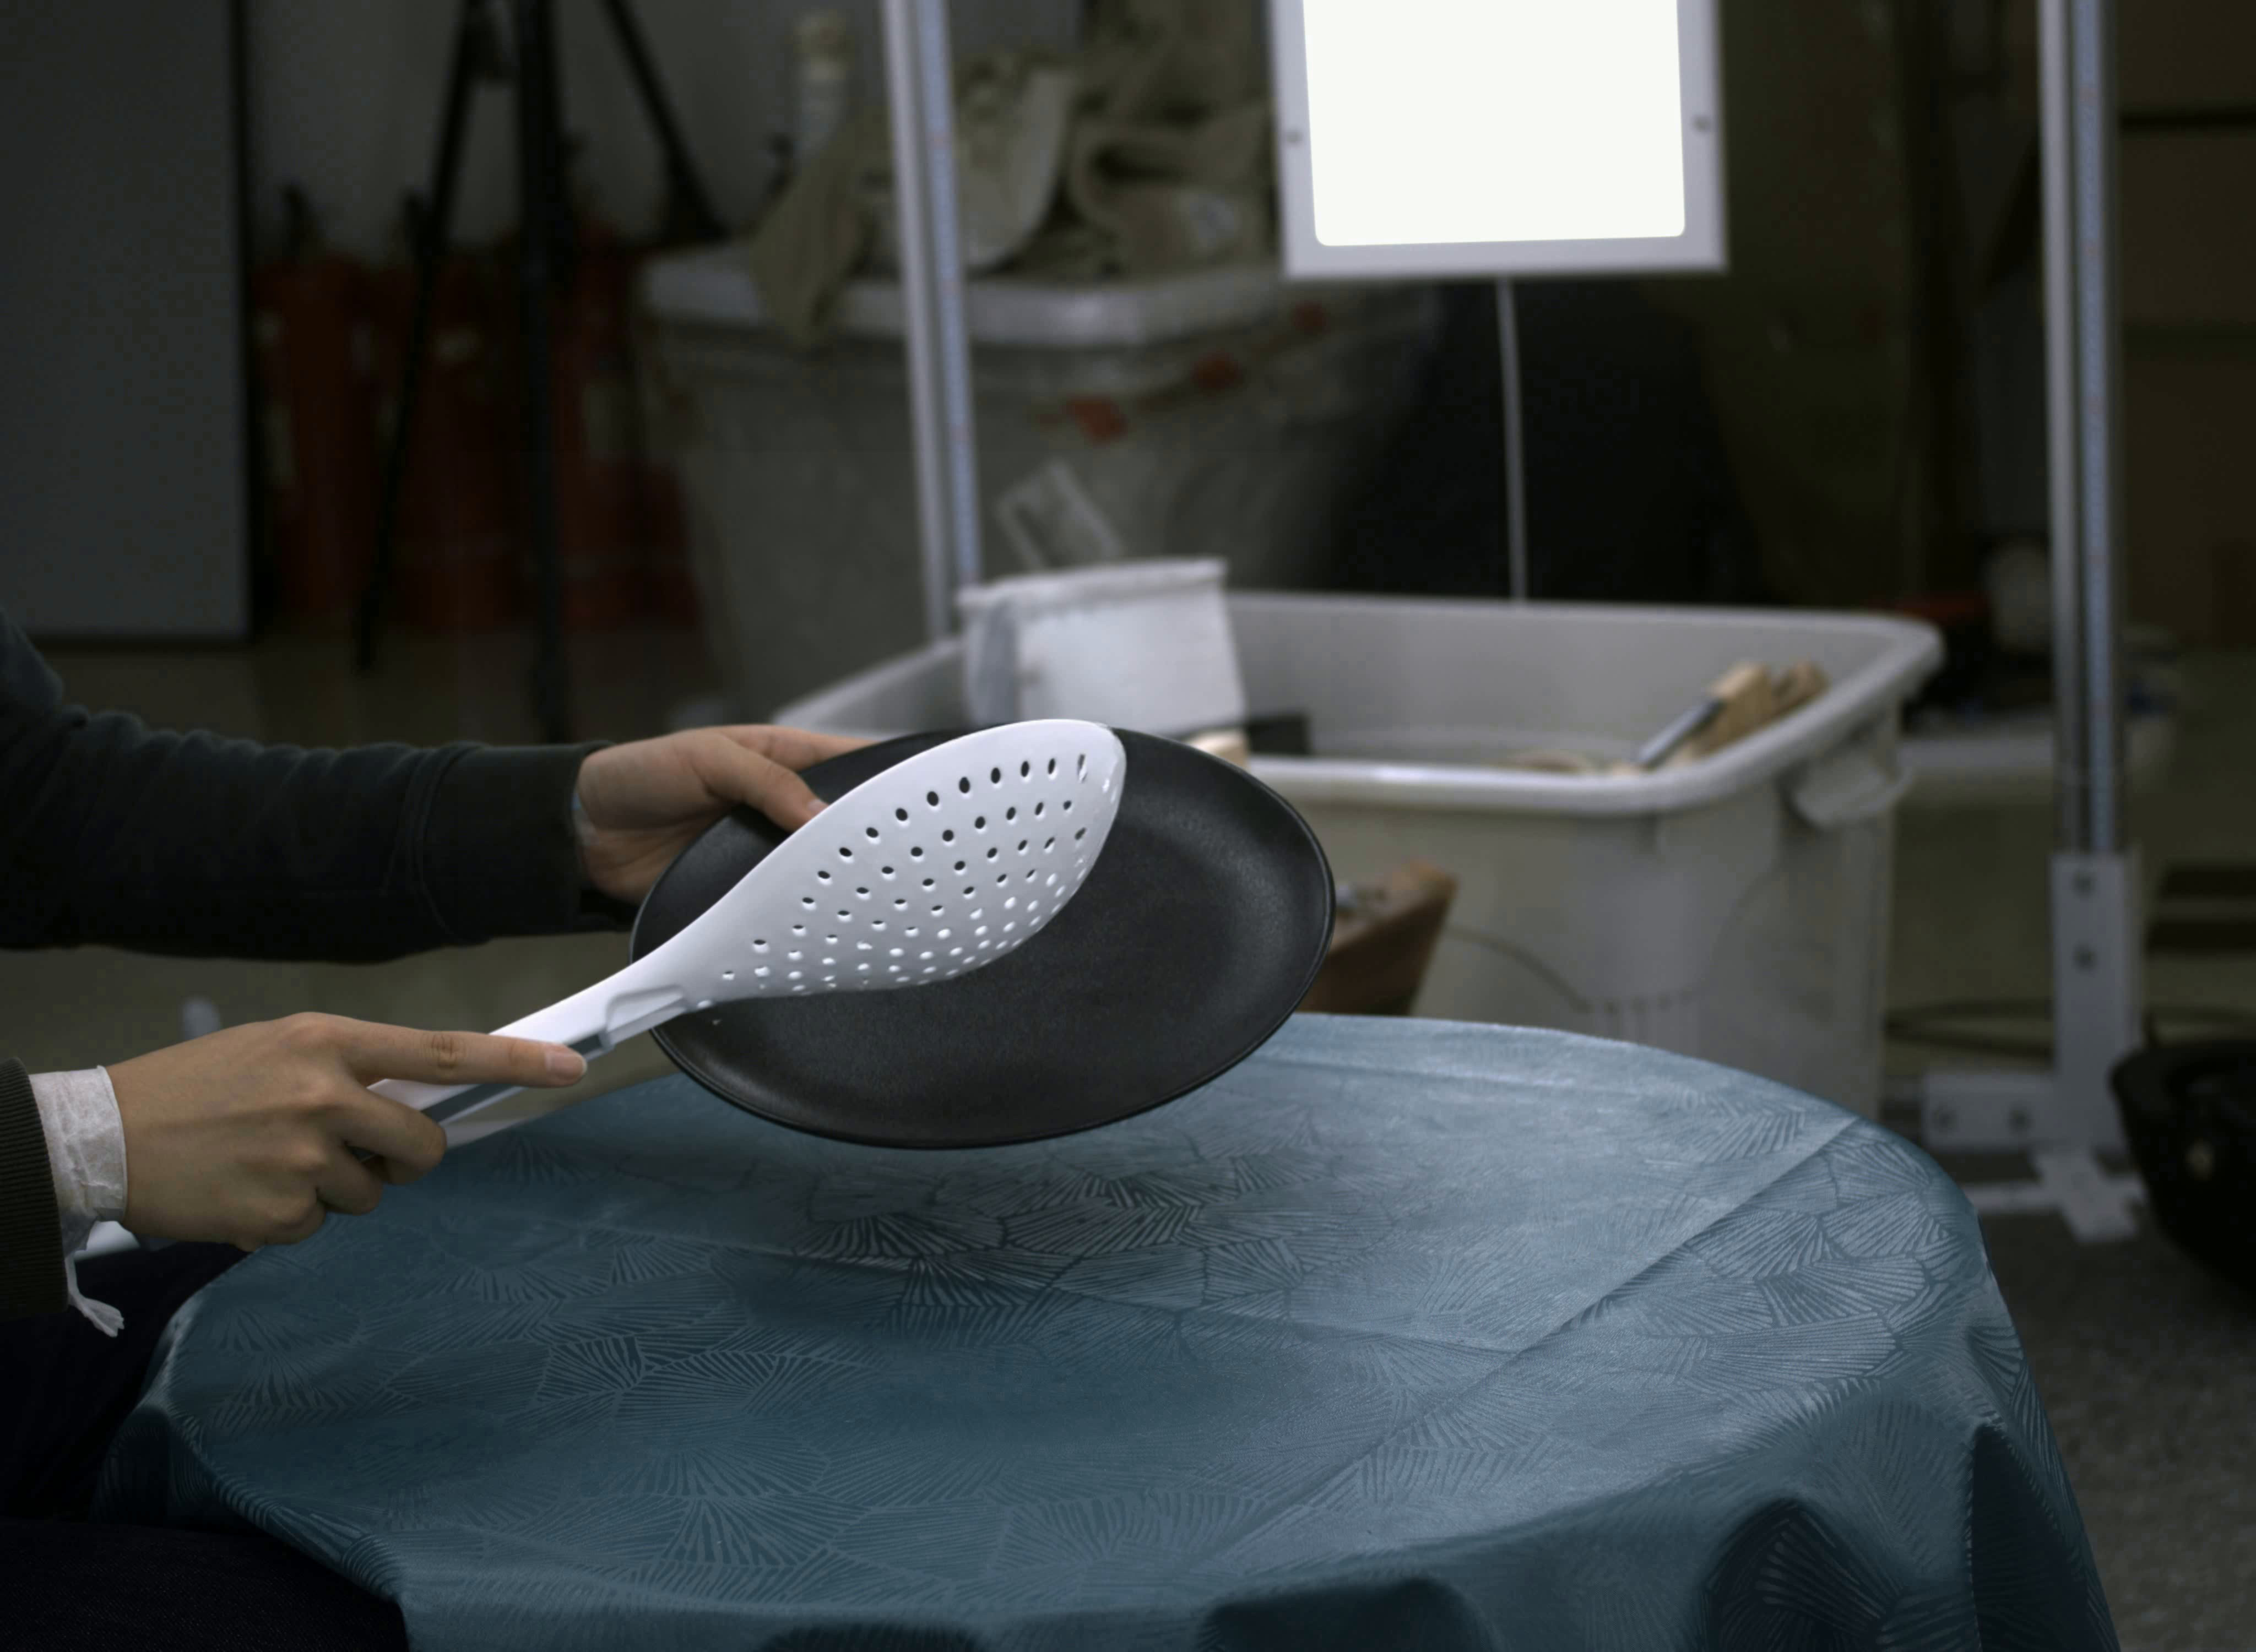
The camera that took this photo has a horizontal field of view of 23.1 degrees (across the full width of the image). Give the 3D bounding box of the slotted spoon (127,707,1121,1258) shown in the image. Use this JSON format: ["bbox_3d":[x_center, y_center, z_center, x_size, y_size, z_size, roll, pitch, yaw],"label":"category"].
[{"bbox_3d":[-0.157,0.055,1.766,0.348,0.046,0.136,-21,-26,-4],"label":"slotted spoon"}]

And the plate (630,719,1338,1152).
[{"bbox_3d":[-0.048,0.041,1.883,0.244,0.023,0.244,-6,36,3],"label":"plate"}]
